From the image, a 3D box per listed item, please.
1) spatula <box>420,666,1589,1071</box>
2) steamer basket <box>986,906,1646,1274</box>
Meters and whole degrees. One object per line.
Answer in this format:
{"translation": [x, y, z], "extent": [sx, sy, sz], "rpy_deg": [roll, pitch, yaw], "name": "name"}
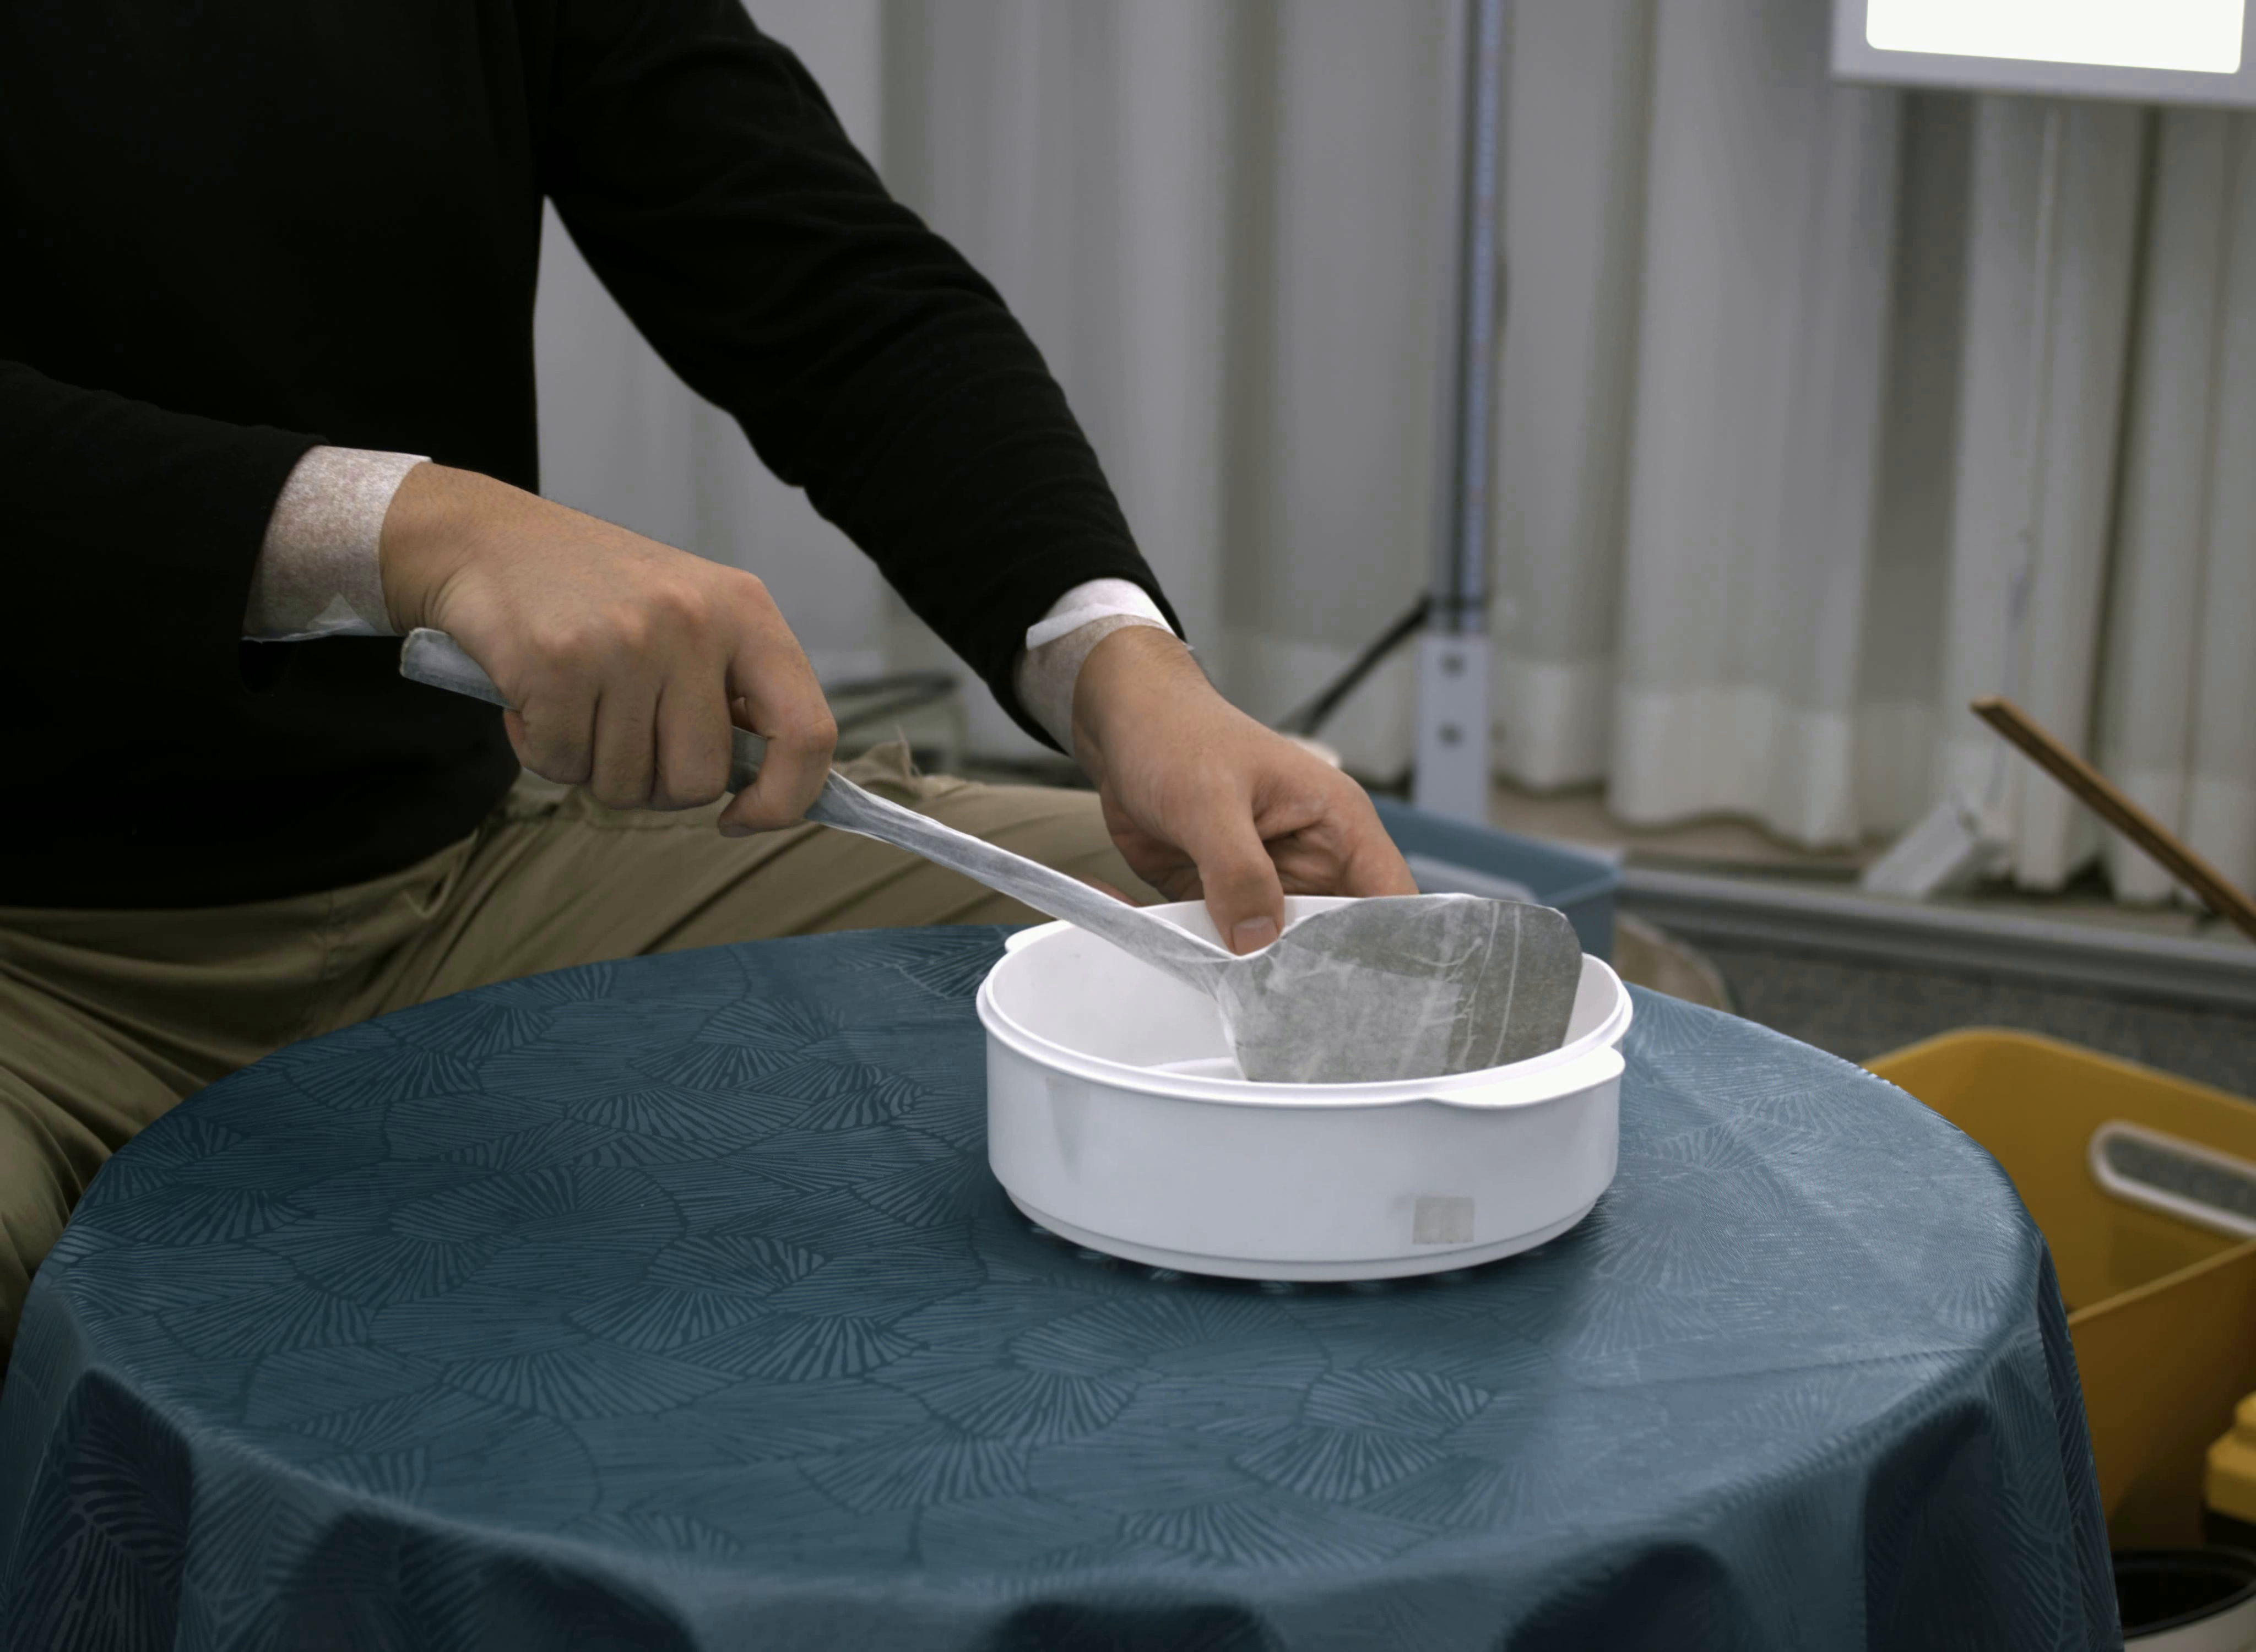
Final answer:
{"translation": [-0.038, 0.012, 1.595], "extent": [0.363, 0.099, 0.044], "rpy_deg": [22, 31, 3], "name": "spatula"}
{"translation": [0.057, 0.080, 1.607], "extent": [0.203, 0.070, 0.227], "rpy_deg": [-12, 18, -40], "name": "steamer basket"}
